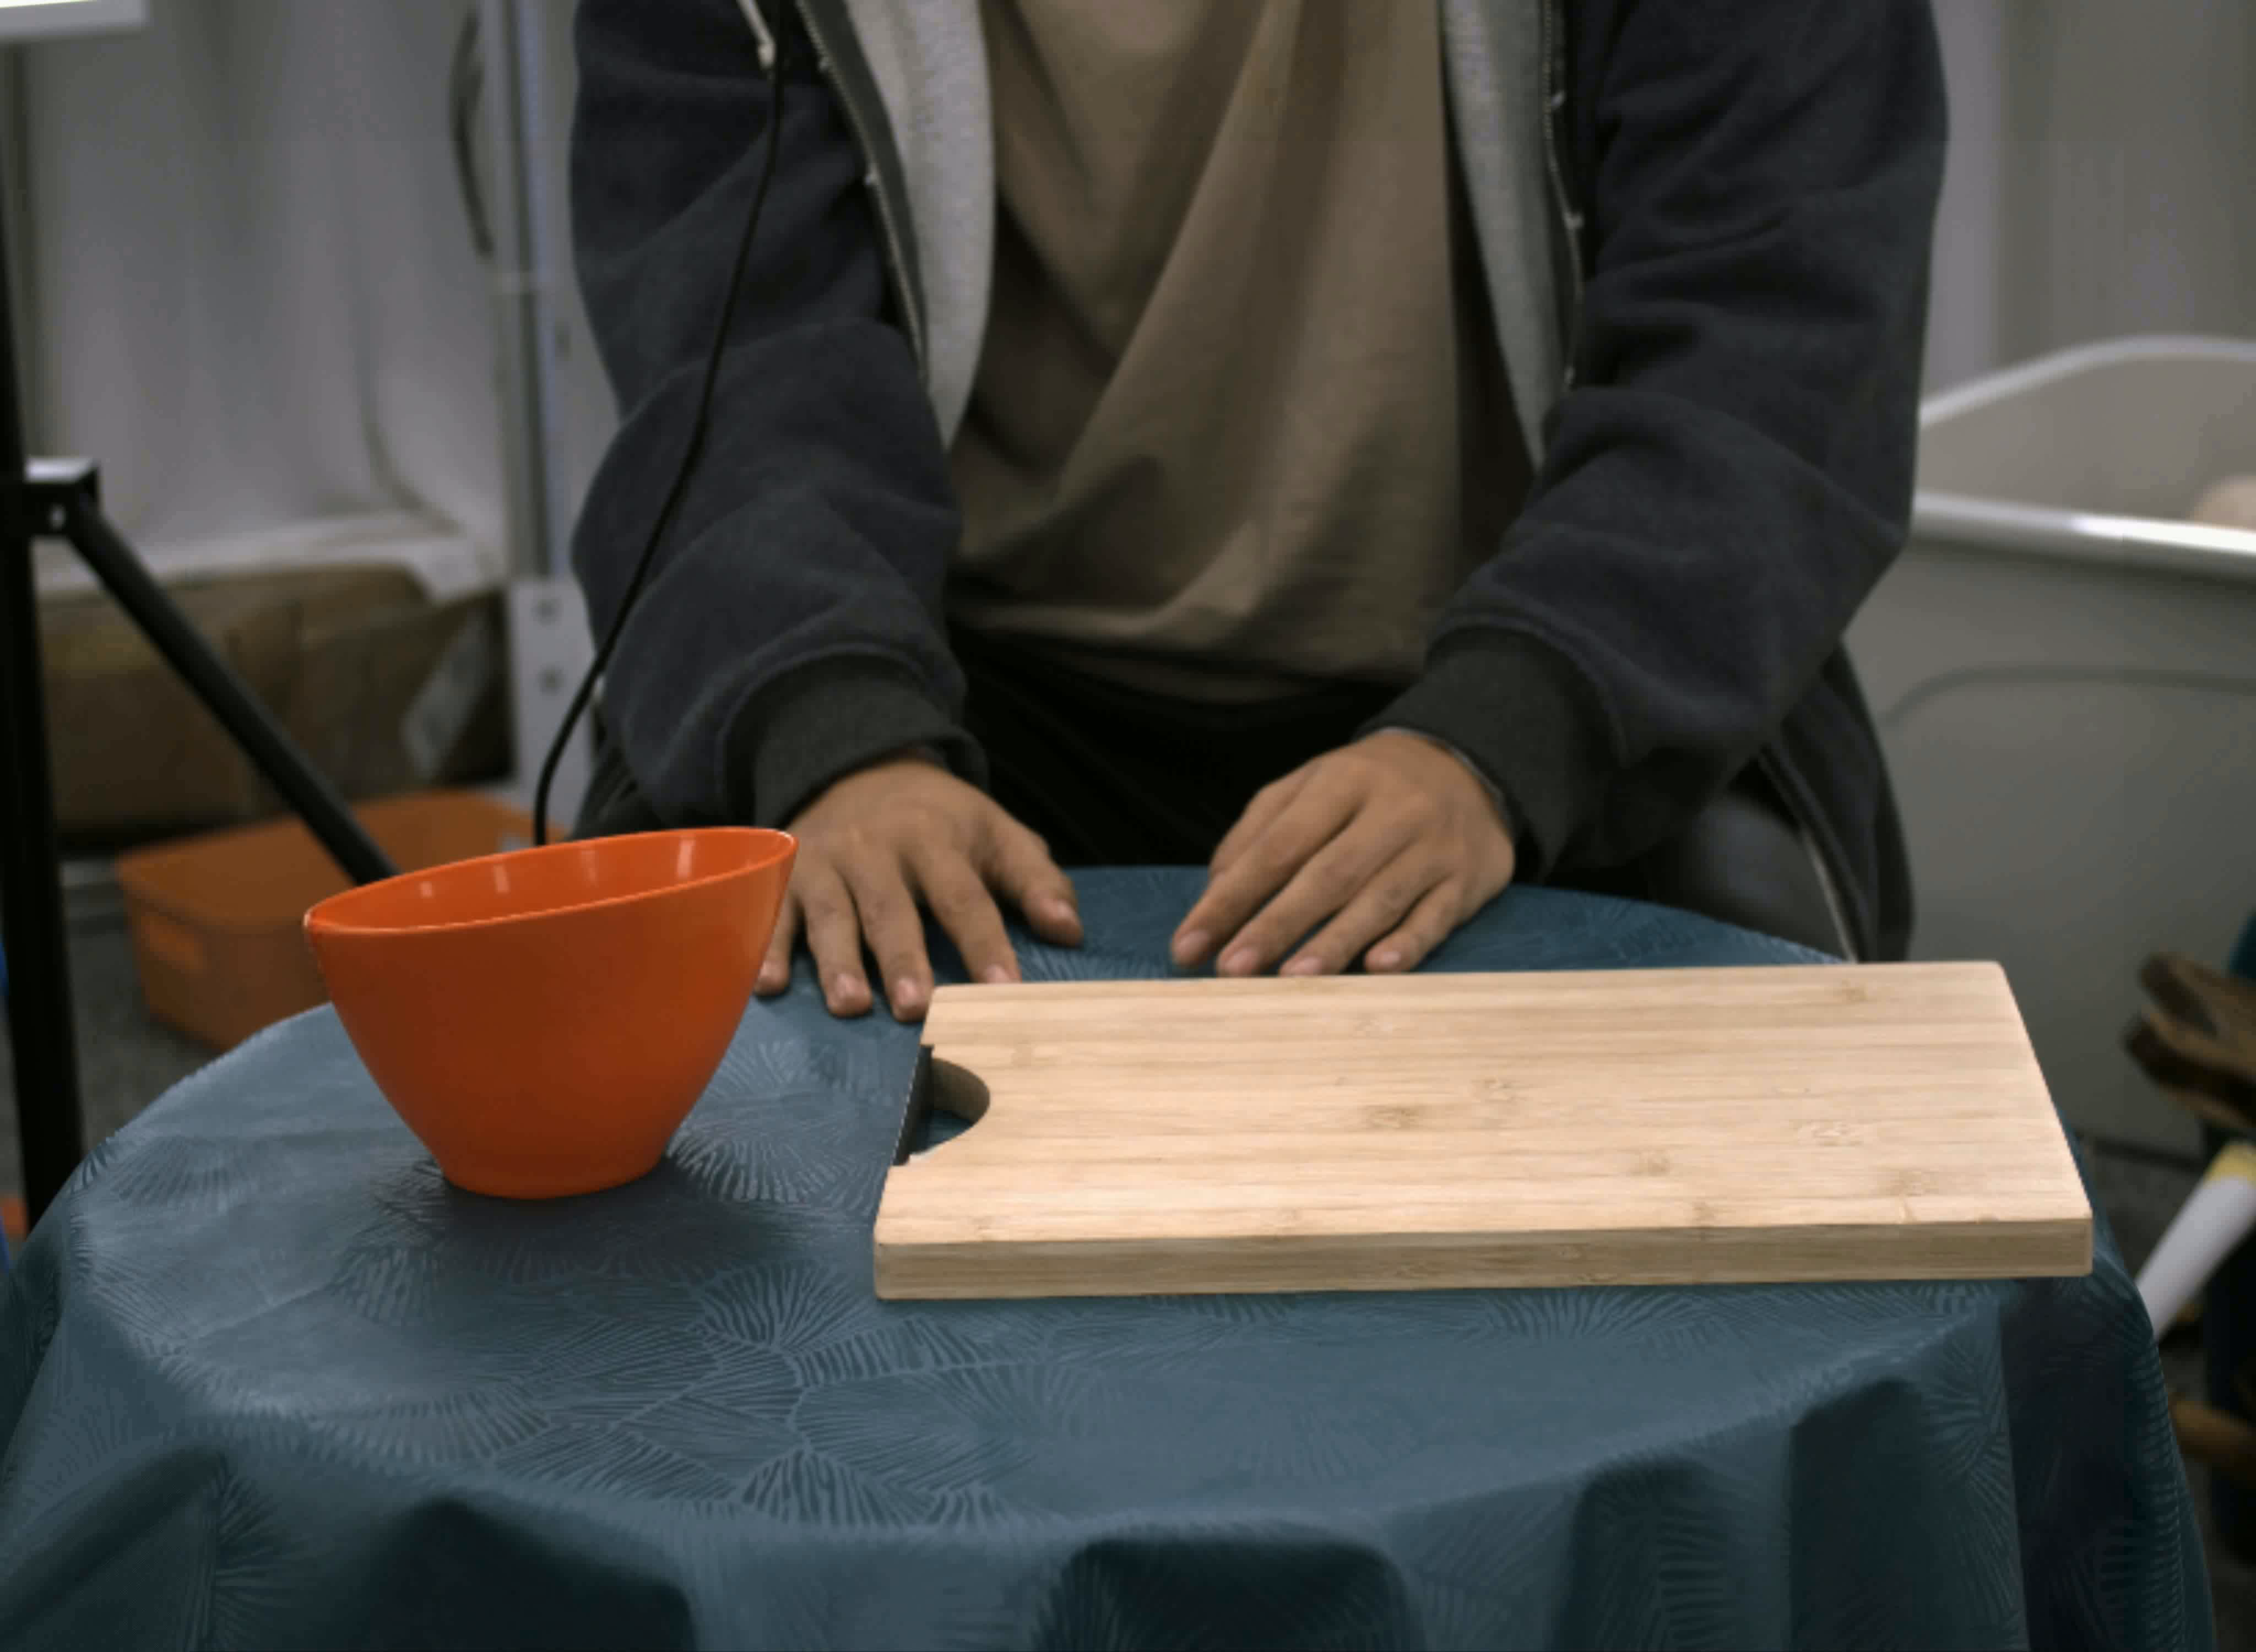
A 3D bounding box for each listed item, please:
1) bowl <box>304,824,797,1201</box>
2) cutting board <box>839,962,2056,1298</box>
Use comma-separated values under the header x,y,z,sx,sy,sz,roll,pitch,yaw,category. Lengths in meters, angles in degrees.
x,y,z,sx,sy,sz,roll,pitch,yaw,category
-0.169,0.055,1.590,0.147,0.104,0.149,-4,16,0,bowl
0.096,0.089,1.582,0.348,0.023,0.251,-1,15,4,cutting board
